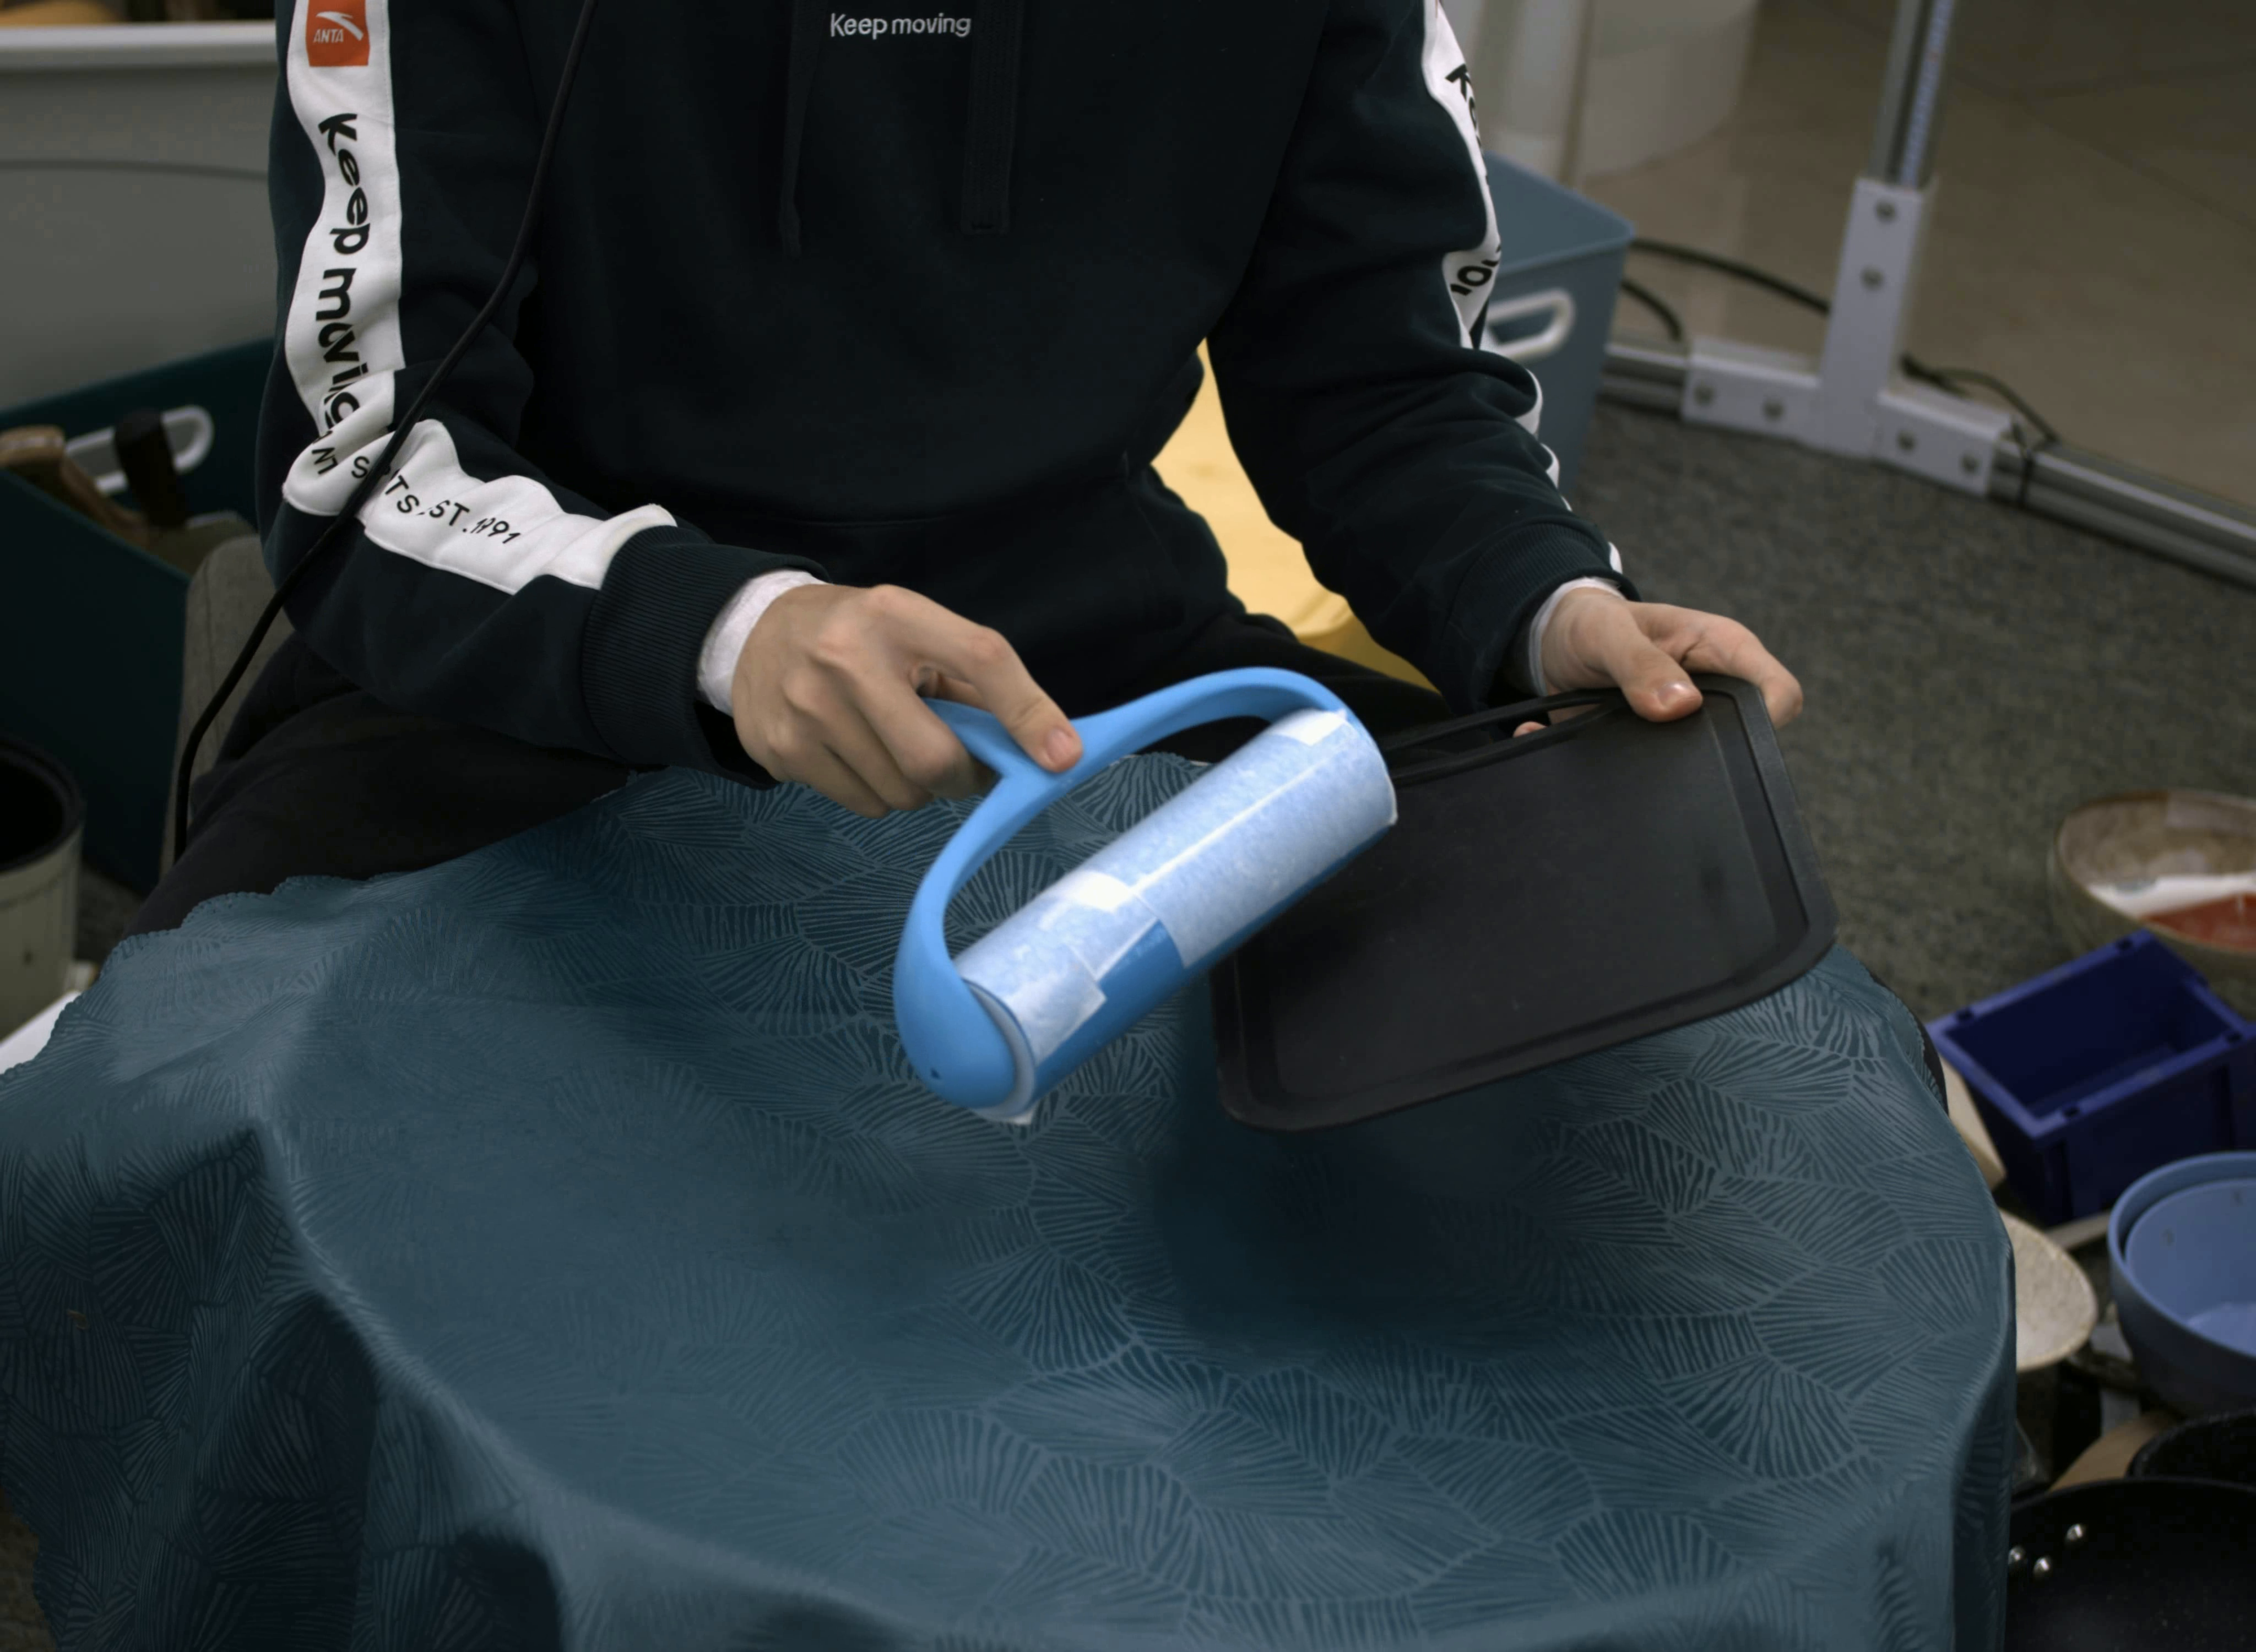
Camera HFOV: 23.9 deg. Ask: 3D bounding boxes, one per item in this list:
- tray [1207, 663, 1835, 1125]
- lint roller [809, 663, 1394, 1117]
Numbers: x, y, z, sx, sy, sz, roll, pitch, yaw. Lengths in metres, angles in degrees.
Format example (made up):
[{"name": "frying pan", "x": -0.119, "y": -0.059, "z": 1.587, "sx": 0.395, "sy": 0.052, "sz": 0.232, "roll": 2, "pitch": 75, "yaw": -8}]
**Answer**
[{"name": "tray", "x": 0.126, "y": 0.015, "z": 1.824, "sx": 0.211, "sy": 0.010, "sz": 0.327, "roll": -17, "pitch": 20, "yaw": 7}, {"name": "lint roller", "x": -0.036, "y": -0.003, "z": 1.790, "sx": 0.181, "sy": 0.067, "sz": 0.229, "roll": 31, "pitch": 47, "yaw": 23}]
